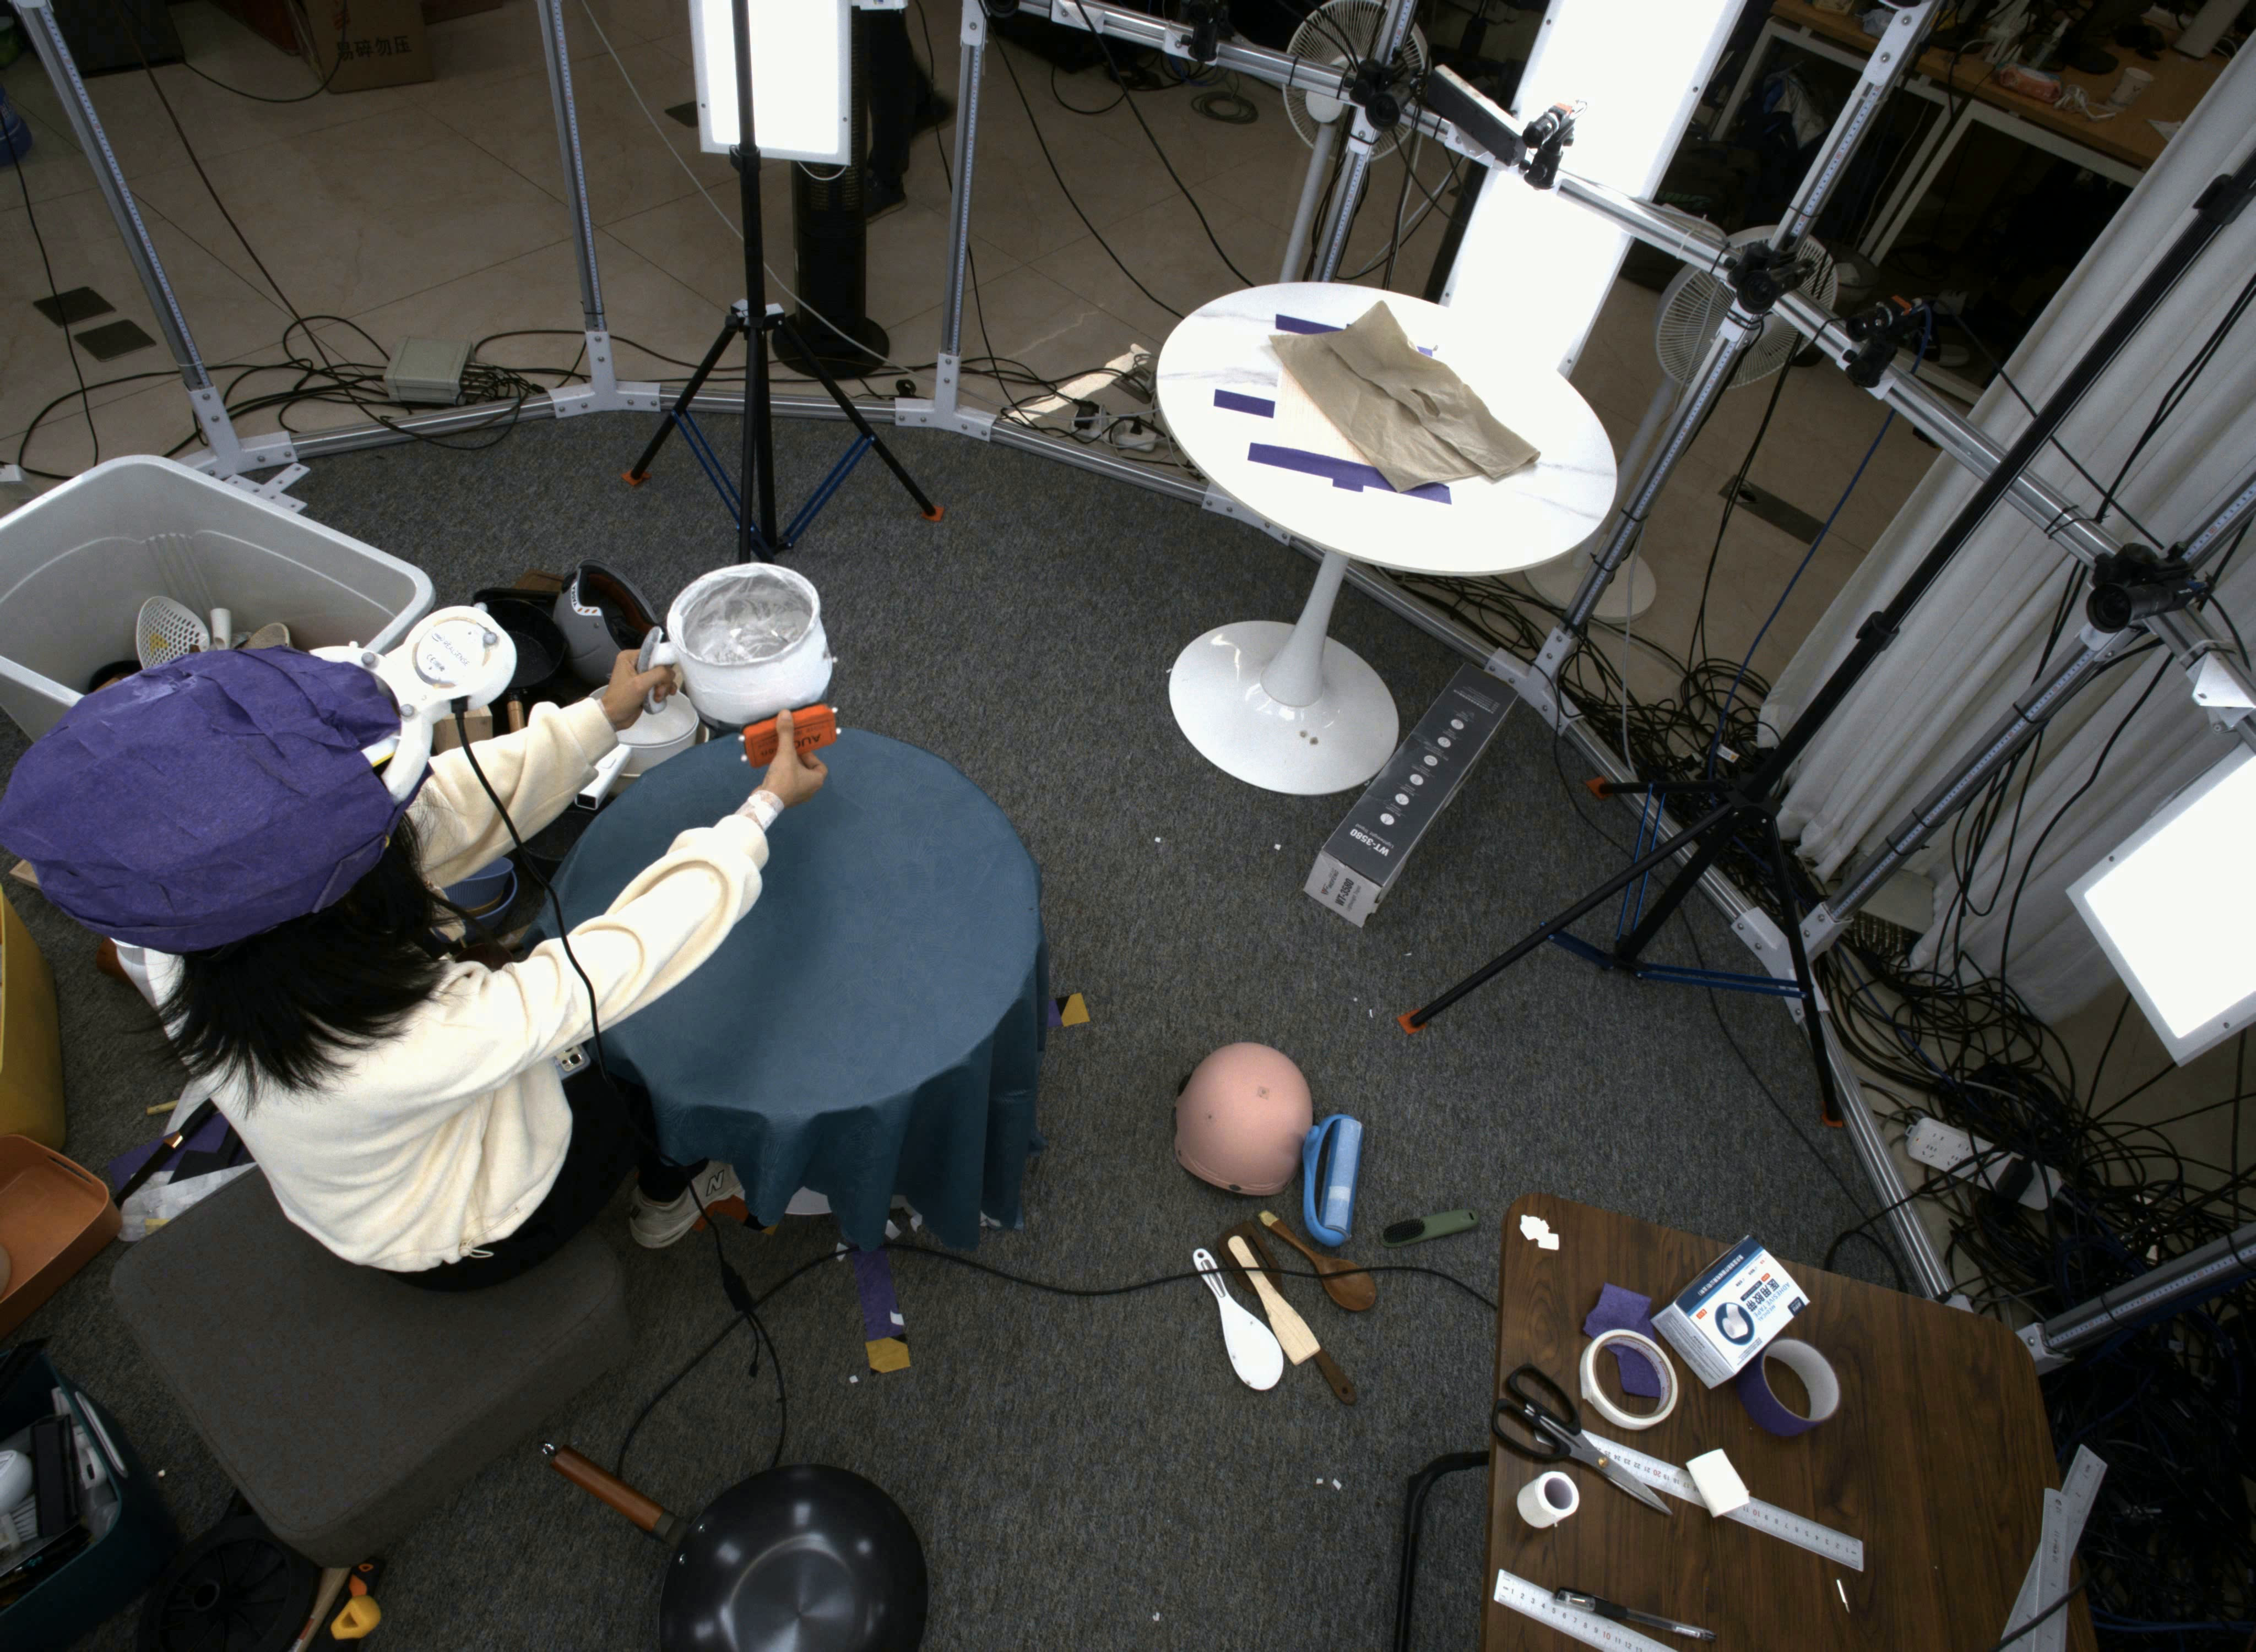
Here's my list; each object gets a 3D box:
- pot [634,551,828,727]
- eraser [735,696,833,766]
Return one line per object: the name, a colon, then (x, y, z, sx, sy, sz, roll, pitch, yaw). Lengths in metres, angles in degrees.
pot: (-0.475, -0.209, 1.519, 0.234, 0.140, 0.173, -16, 53, -16)
eraser: (-0.402, -0.111, 1.514, 0.108, 0.060, 0.022, -20, 55, -21)
